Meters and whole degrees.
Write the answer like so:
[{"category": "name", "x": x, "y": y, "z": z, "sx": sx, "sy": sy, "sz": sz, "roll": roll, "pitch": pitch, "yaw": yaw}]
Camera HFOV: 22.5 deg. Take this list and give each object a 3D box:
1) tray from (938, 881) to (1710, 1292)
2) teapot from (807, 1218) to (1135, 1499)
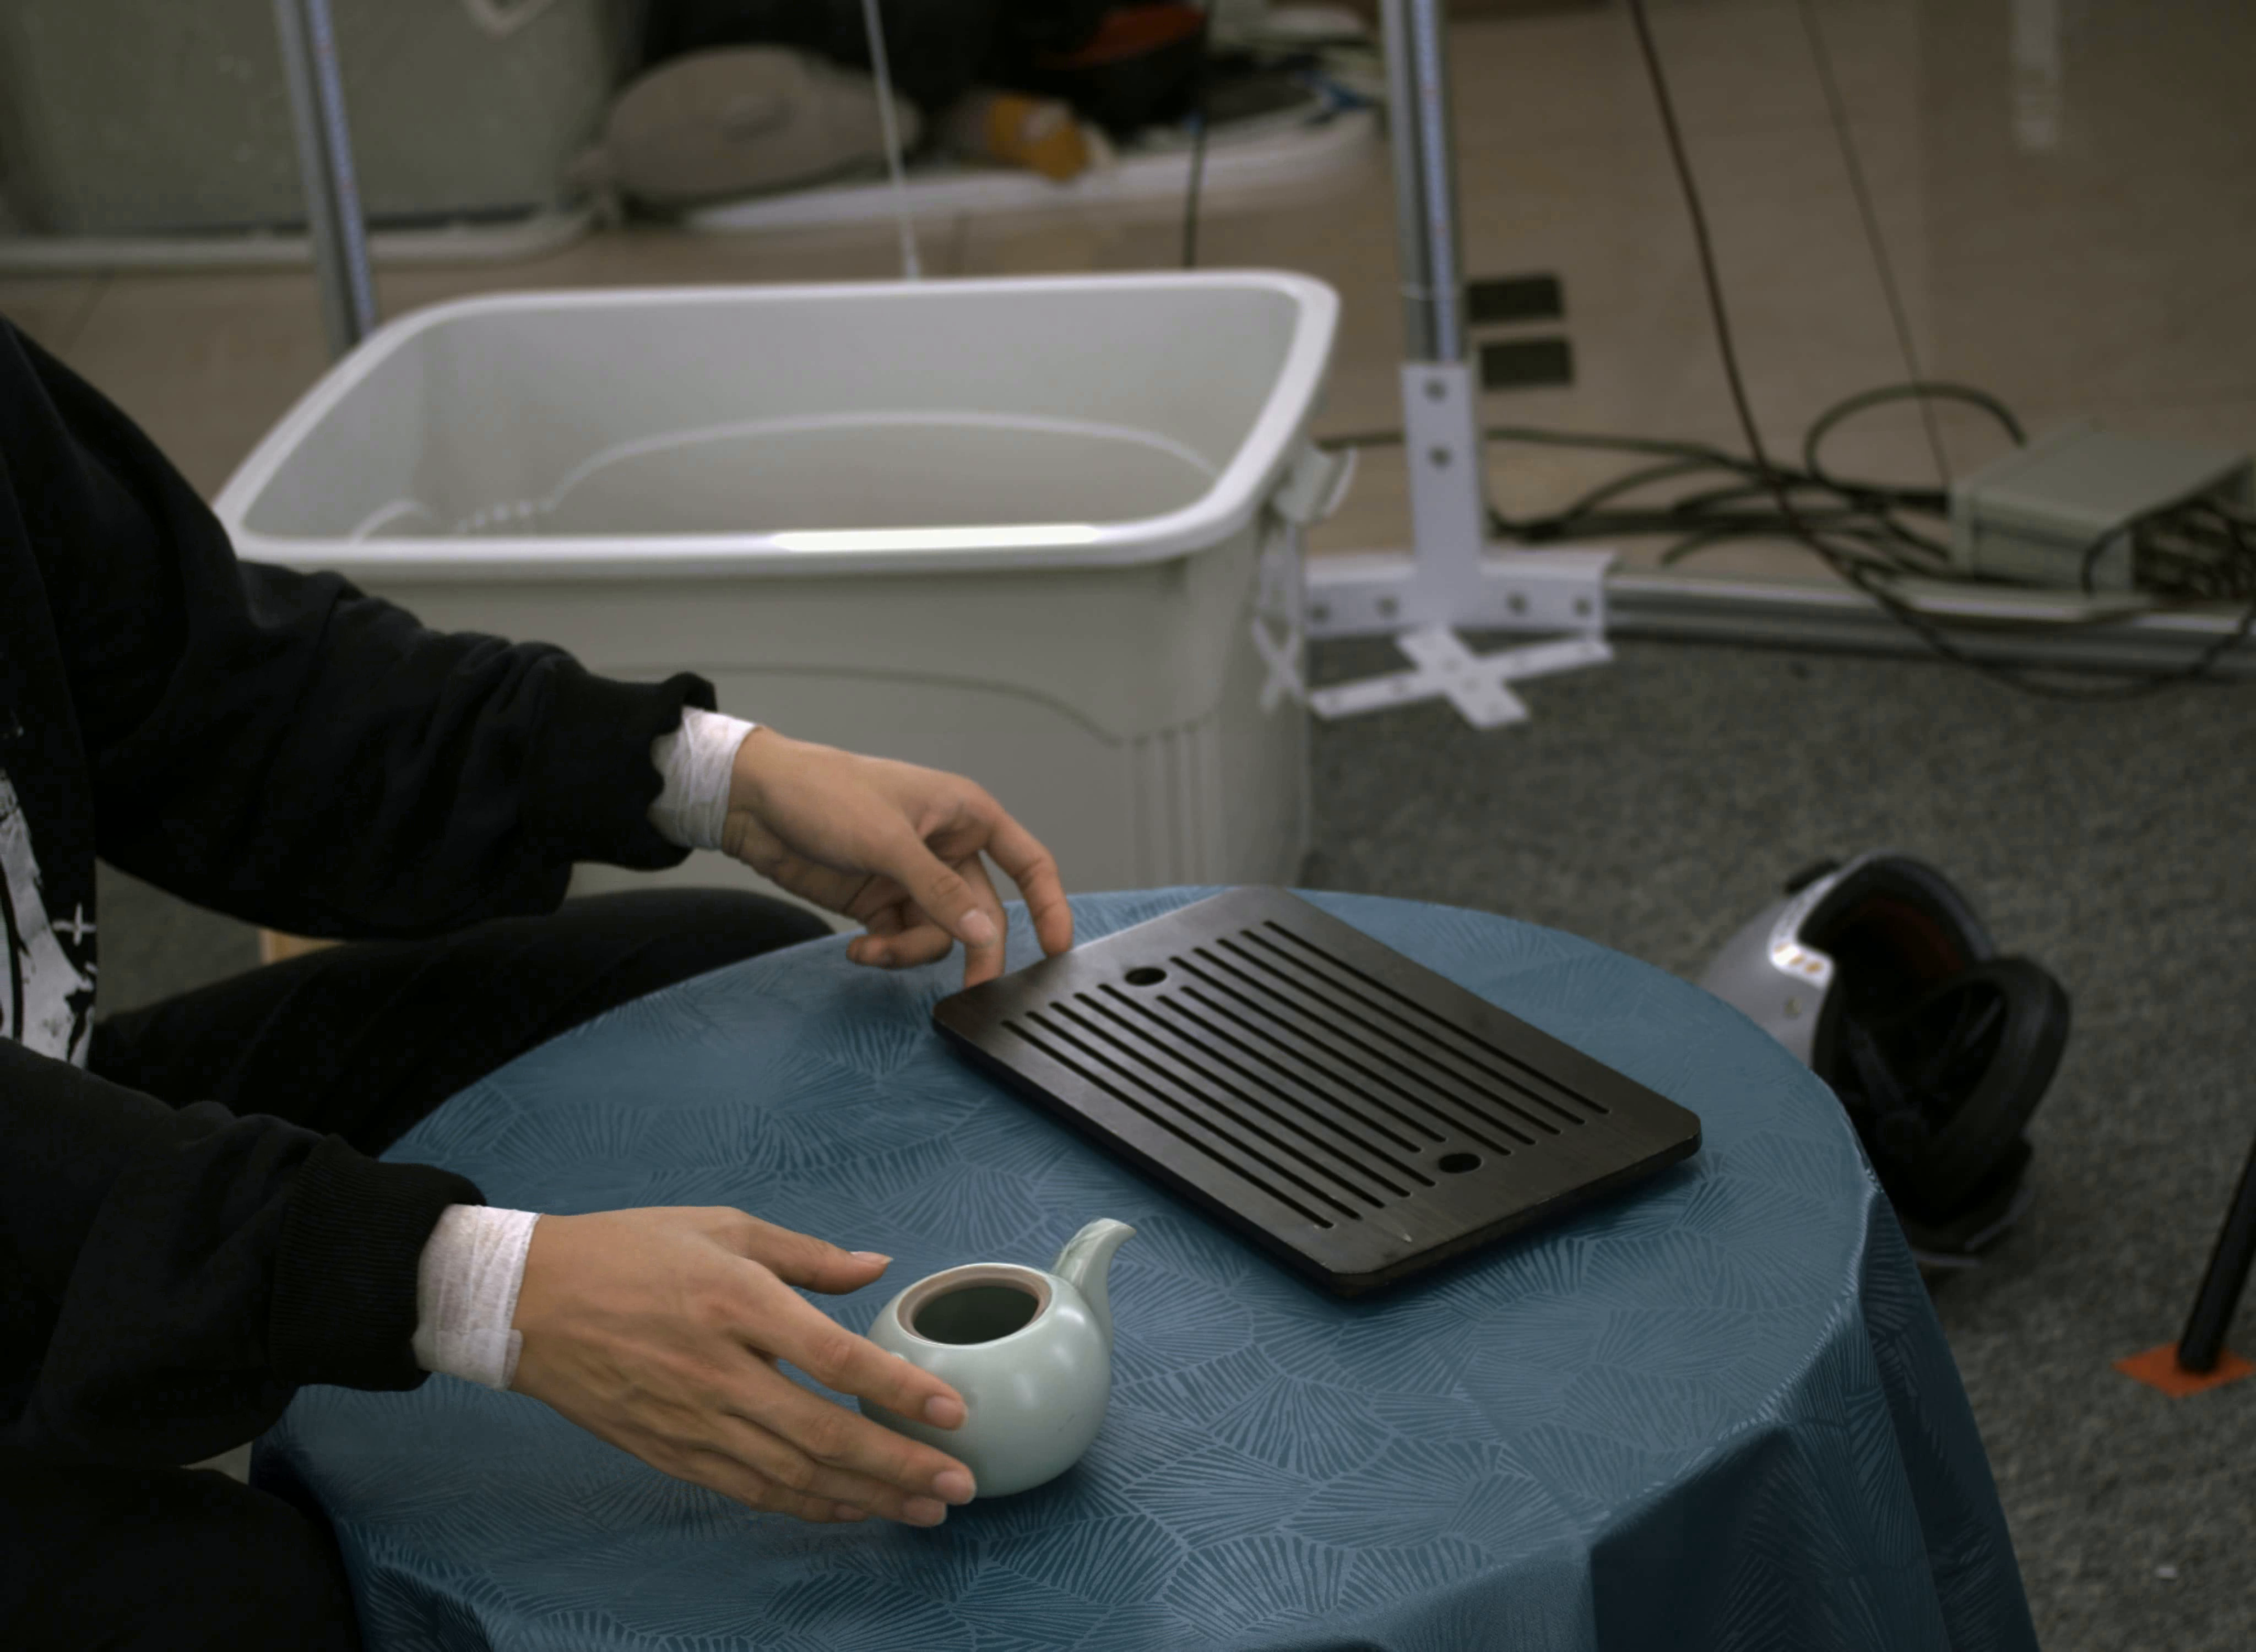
[{"category": "tray", "x": 0.071, "y": 0.098, "z": 2.199, "sx": 0.169, "sy": 0.019, "sz": 0.303, "roll": -20, "pitch": 28, "yaw": -27}, {"category": "teapot", "x": -0.051, "y": 0.191, "z": 1.964, "sx": 0.143, "sy": 0.076, "sz": 0.087, "roll": -22, "pitch": 29, "yaw": -33}]
